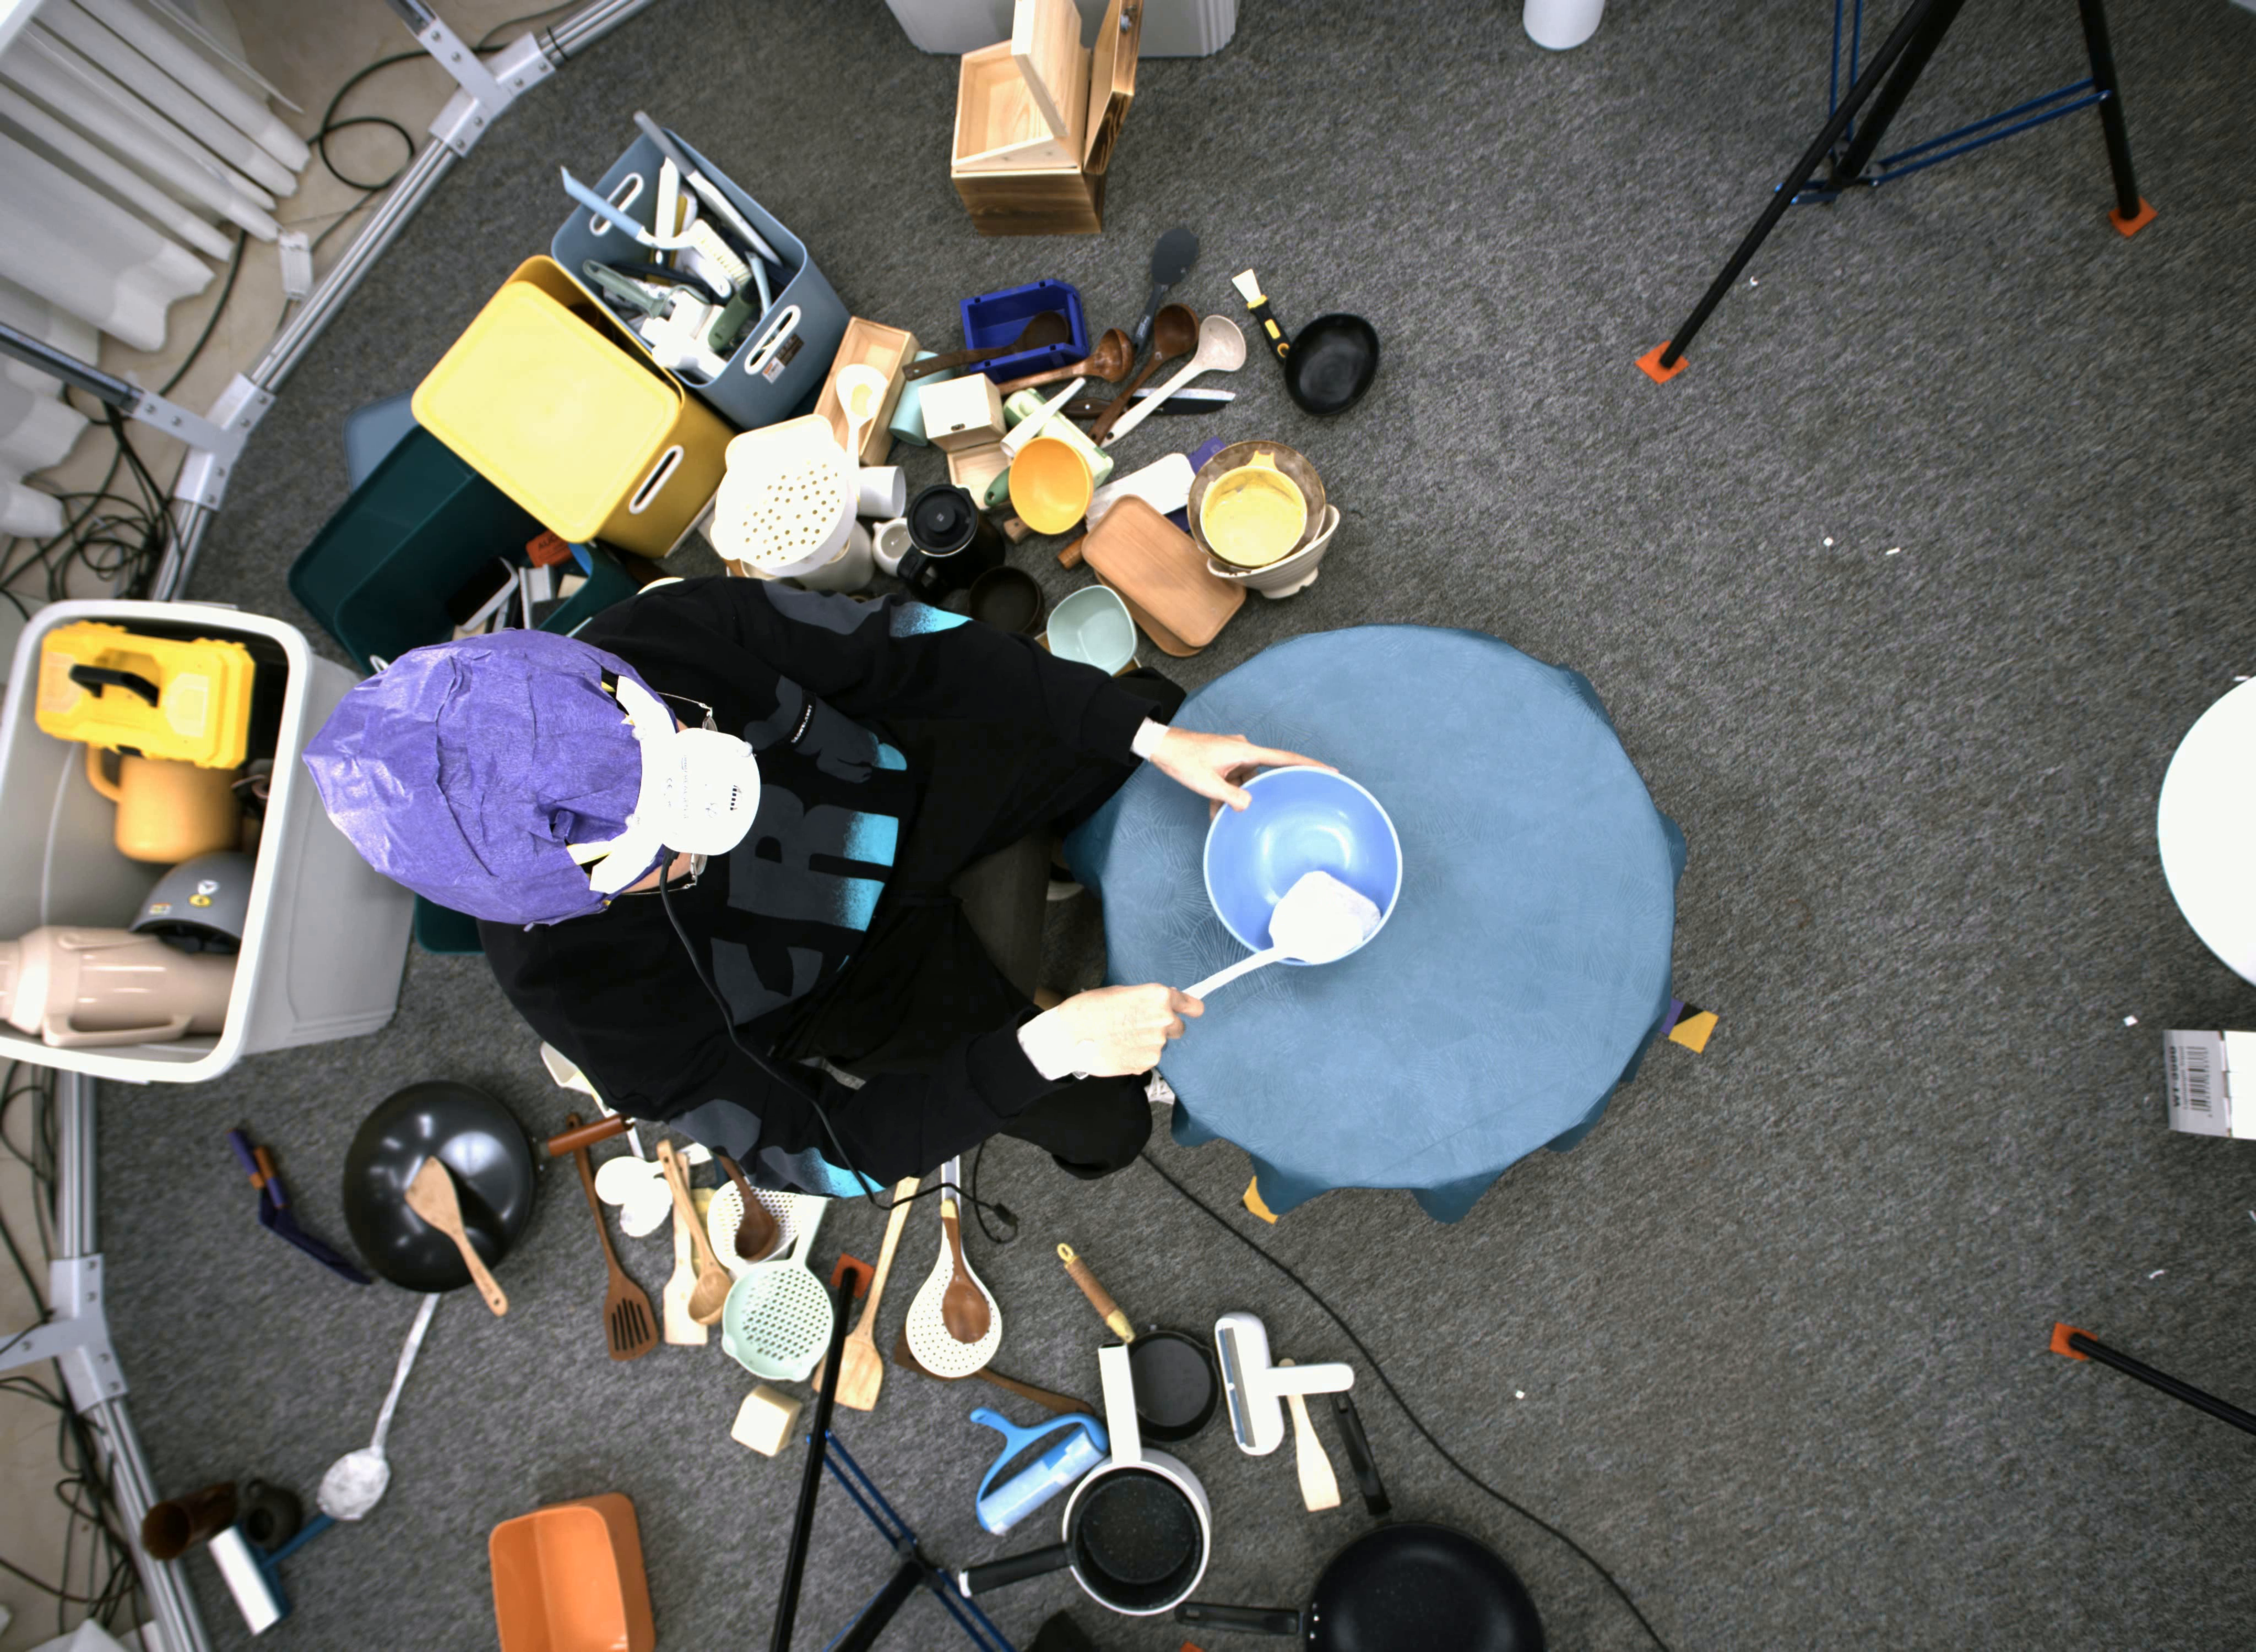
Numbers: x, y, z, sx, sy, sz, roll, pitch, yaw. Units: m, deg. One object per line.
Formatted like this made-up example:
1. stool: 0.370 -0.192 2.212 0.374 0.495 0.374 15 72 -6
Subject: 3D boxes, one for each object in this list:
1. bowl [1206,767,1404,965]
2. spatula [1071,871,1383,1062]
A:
1. bowl: 0.185 0.037 1.405 0.197 0.094 0.197 1 96 16
2. spatula: 0.094 0.135 1.297 0.098 0.359 0.046 37 134 35
